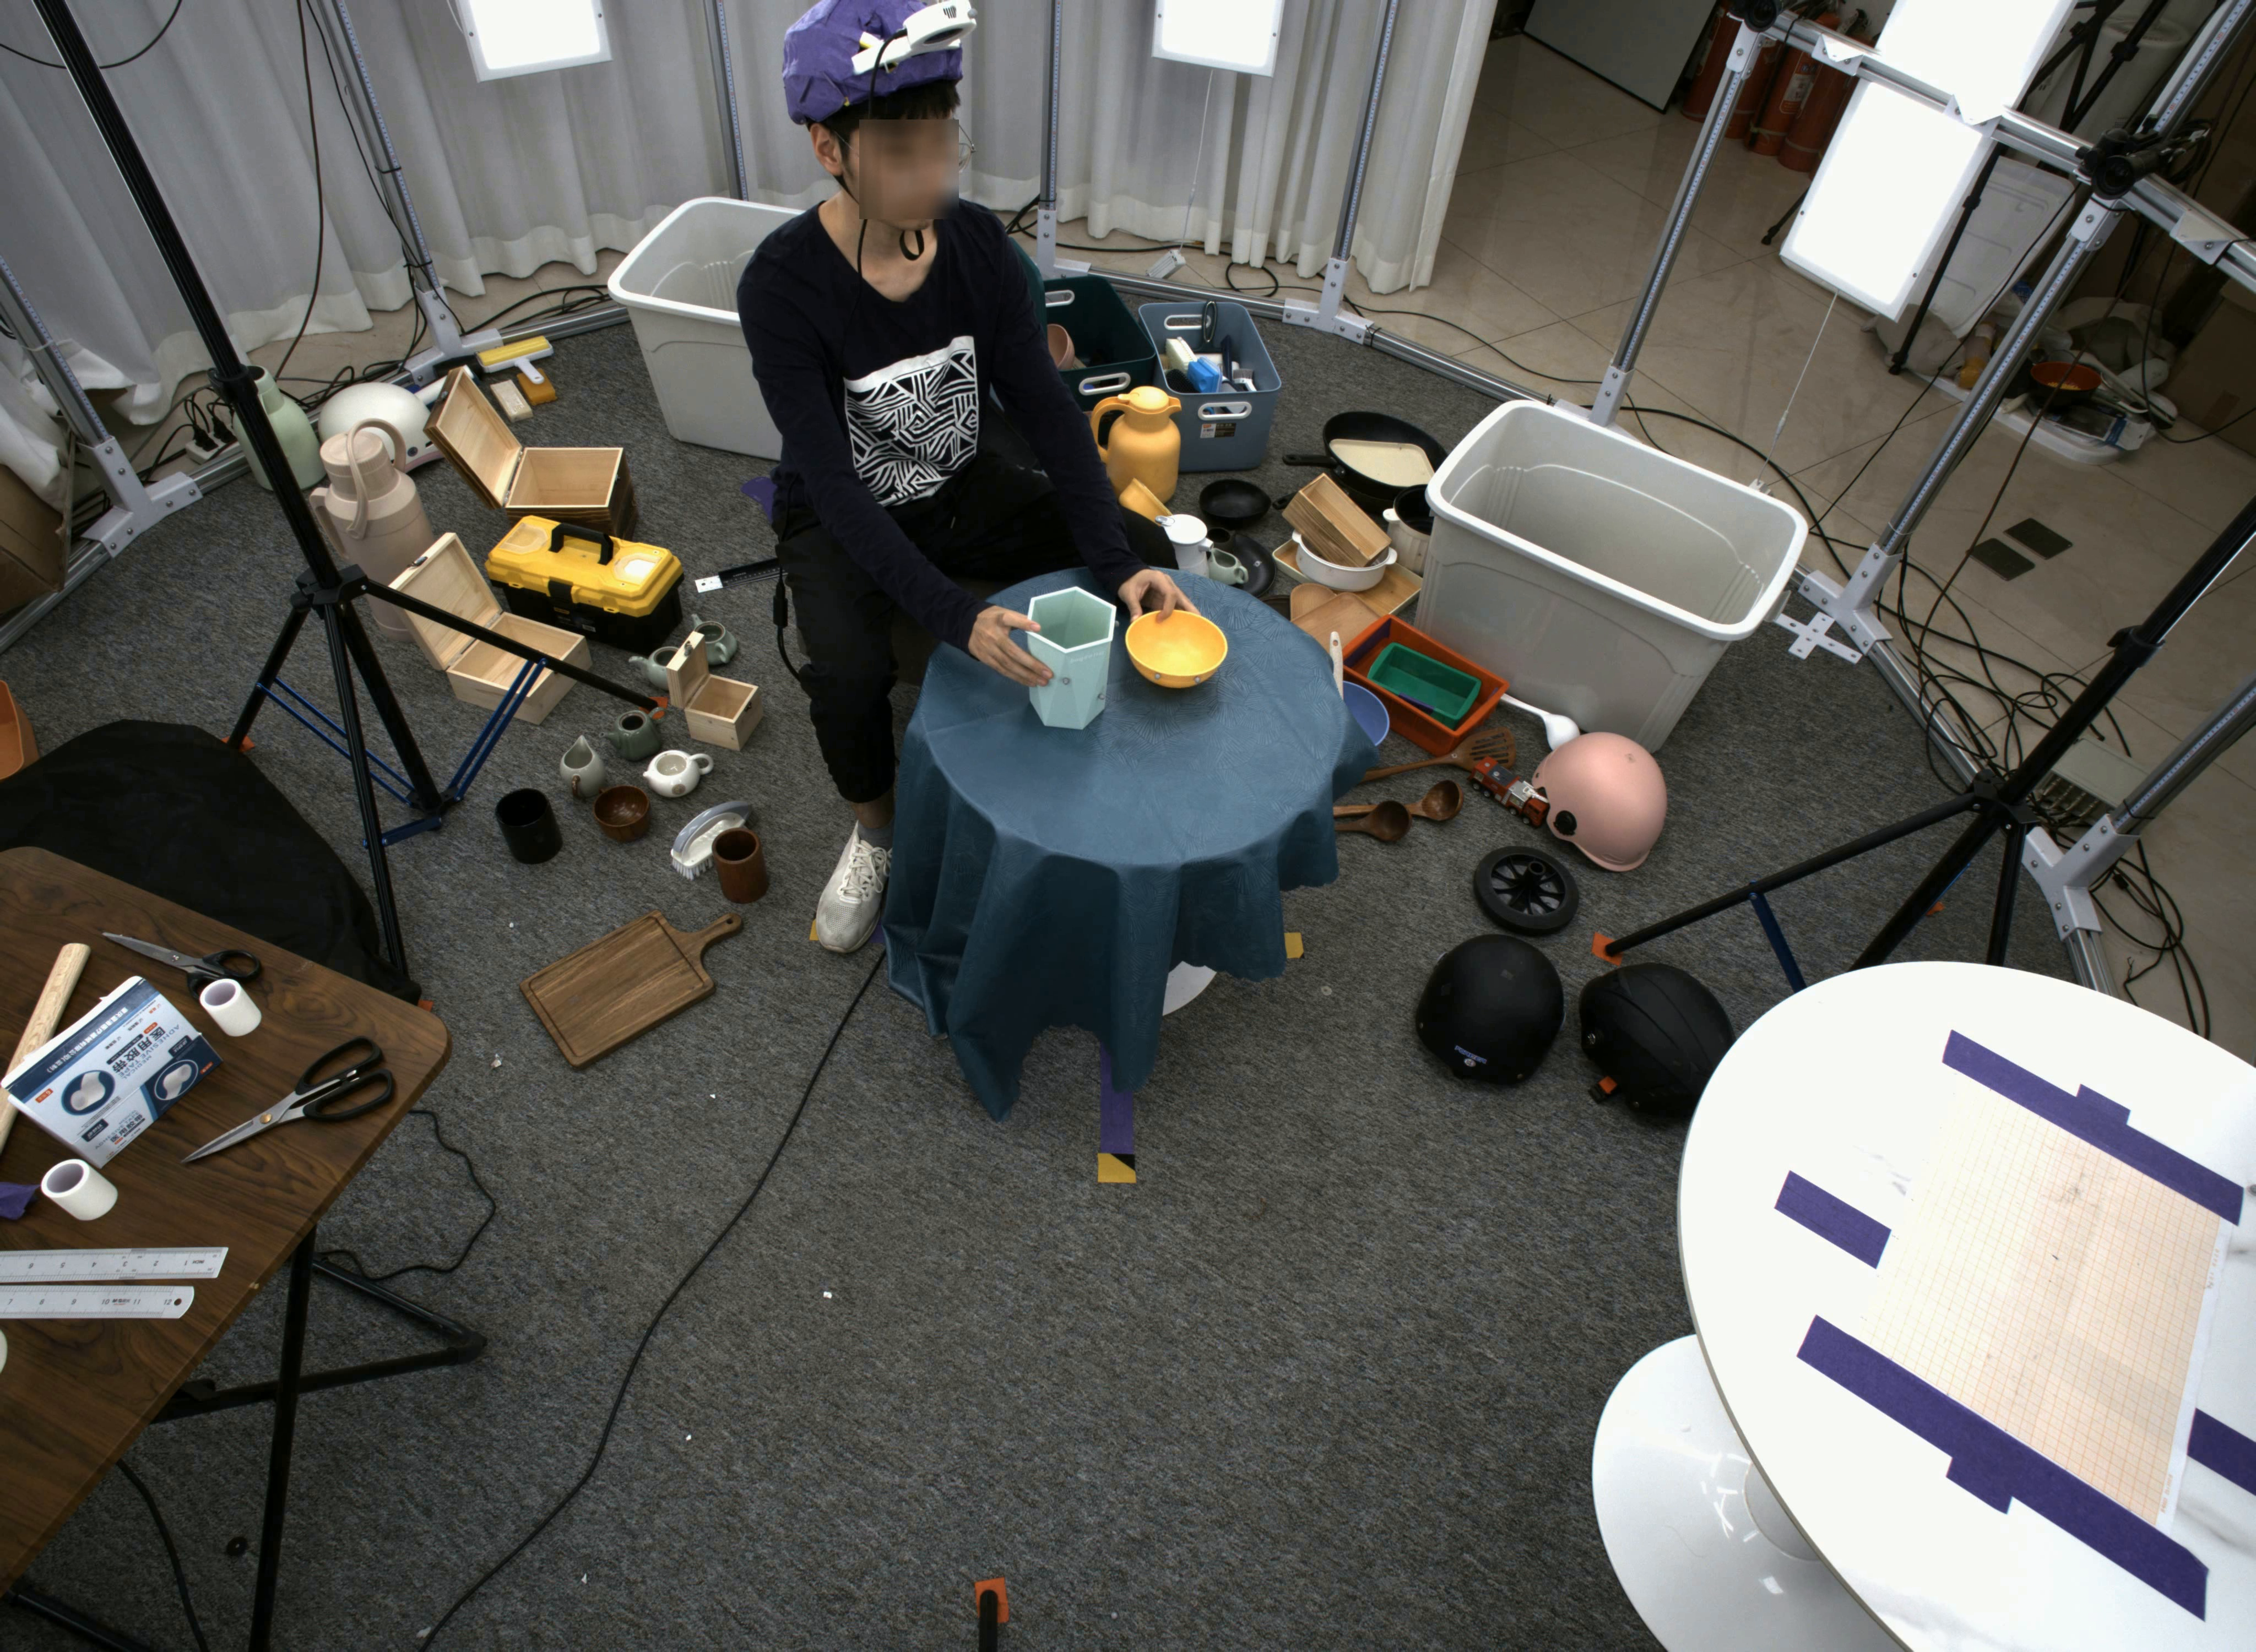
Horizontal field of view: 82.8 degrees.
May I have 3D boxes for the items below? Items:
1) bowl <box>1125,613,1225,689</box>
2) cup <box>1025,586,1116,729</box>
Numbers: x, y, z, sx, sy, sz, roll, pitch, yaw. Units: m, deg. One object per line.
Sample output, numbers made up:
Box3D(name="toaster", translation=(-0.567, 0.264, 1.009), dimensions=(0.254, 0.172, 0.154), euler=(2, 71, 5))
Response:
Box3D(name="bowl", translation=(0.064, -0.240, 1.844), dimensions=(0.145, 0.058, 0.149), euler=(4, 43, -4))
Box3D(name="cup", translation=(-0.079, -0.223, 1.750), dimensions=(0.131, 0.159, 0.118), euler=(-18, 51, -20))
